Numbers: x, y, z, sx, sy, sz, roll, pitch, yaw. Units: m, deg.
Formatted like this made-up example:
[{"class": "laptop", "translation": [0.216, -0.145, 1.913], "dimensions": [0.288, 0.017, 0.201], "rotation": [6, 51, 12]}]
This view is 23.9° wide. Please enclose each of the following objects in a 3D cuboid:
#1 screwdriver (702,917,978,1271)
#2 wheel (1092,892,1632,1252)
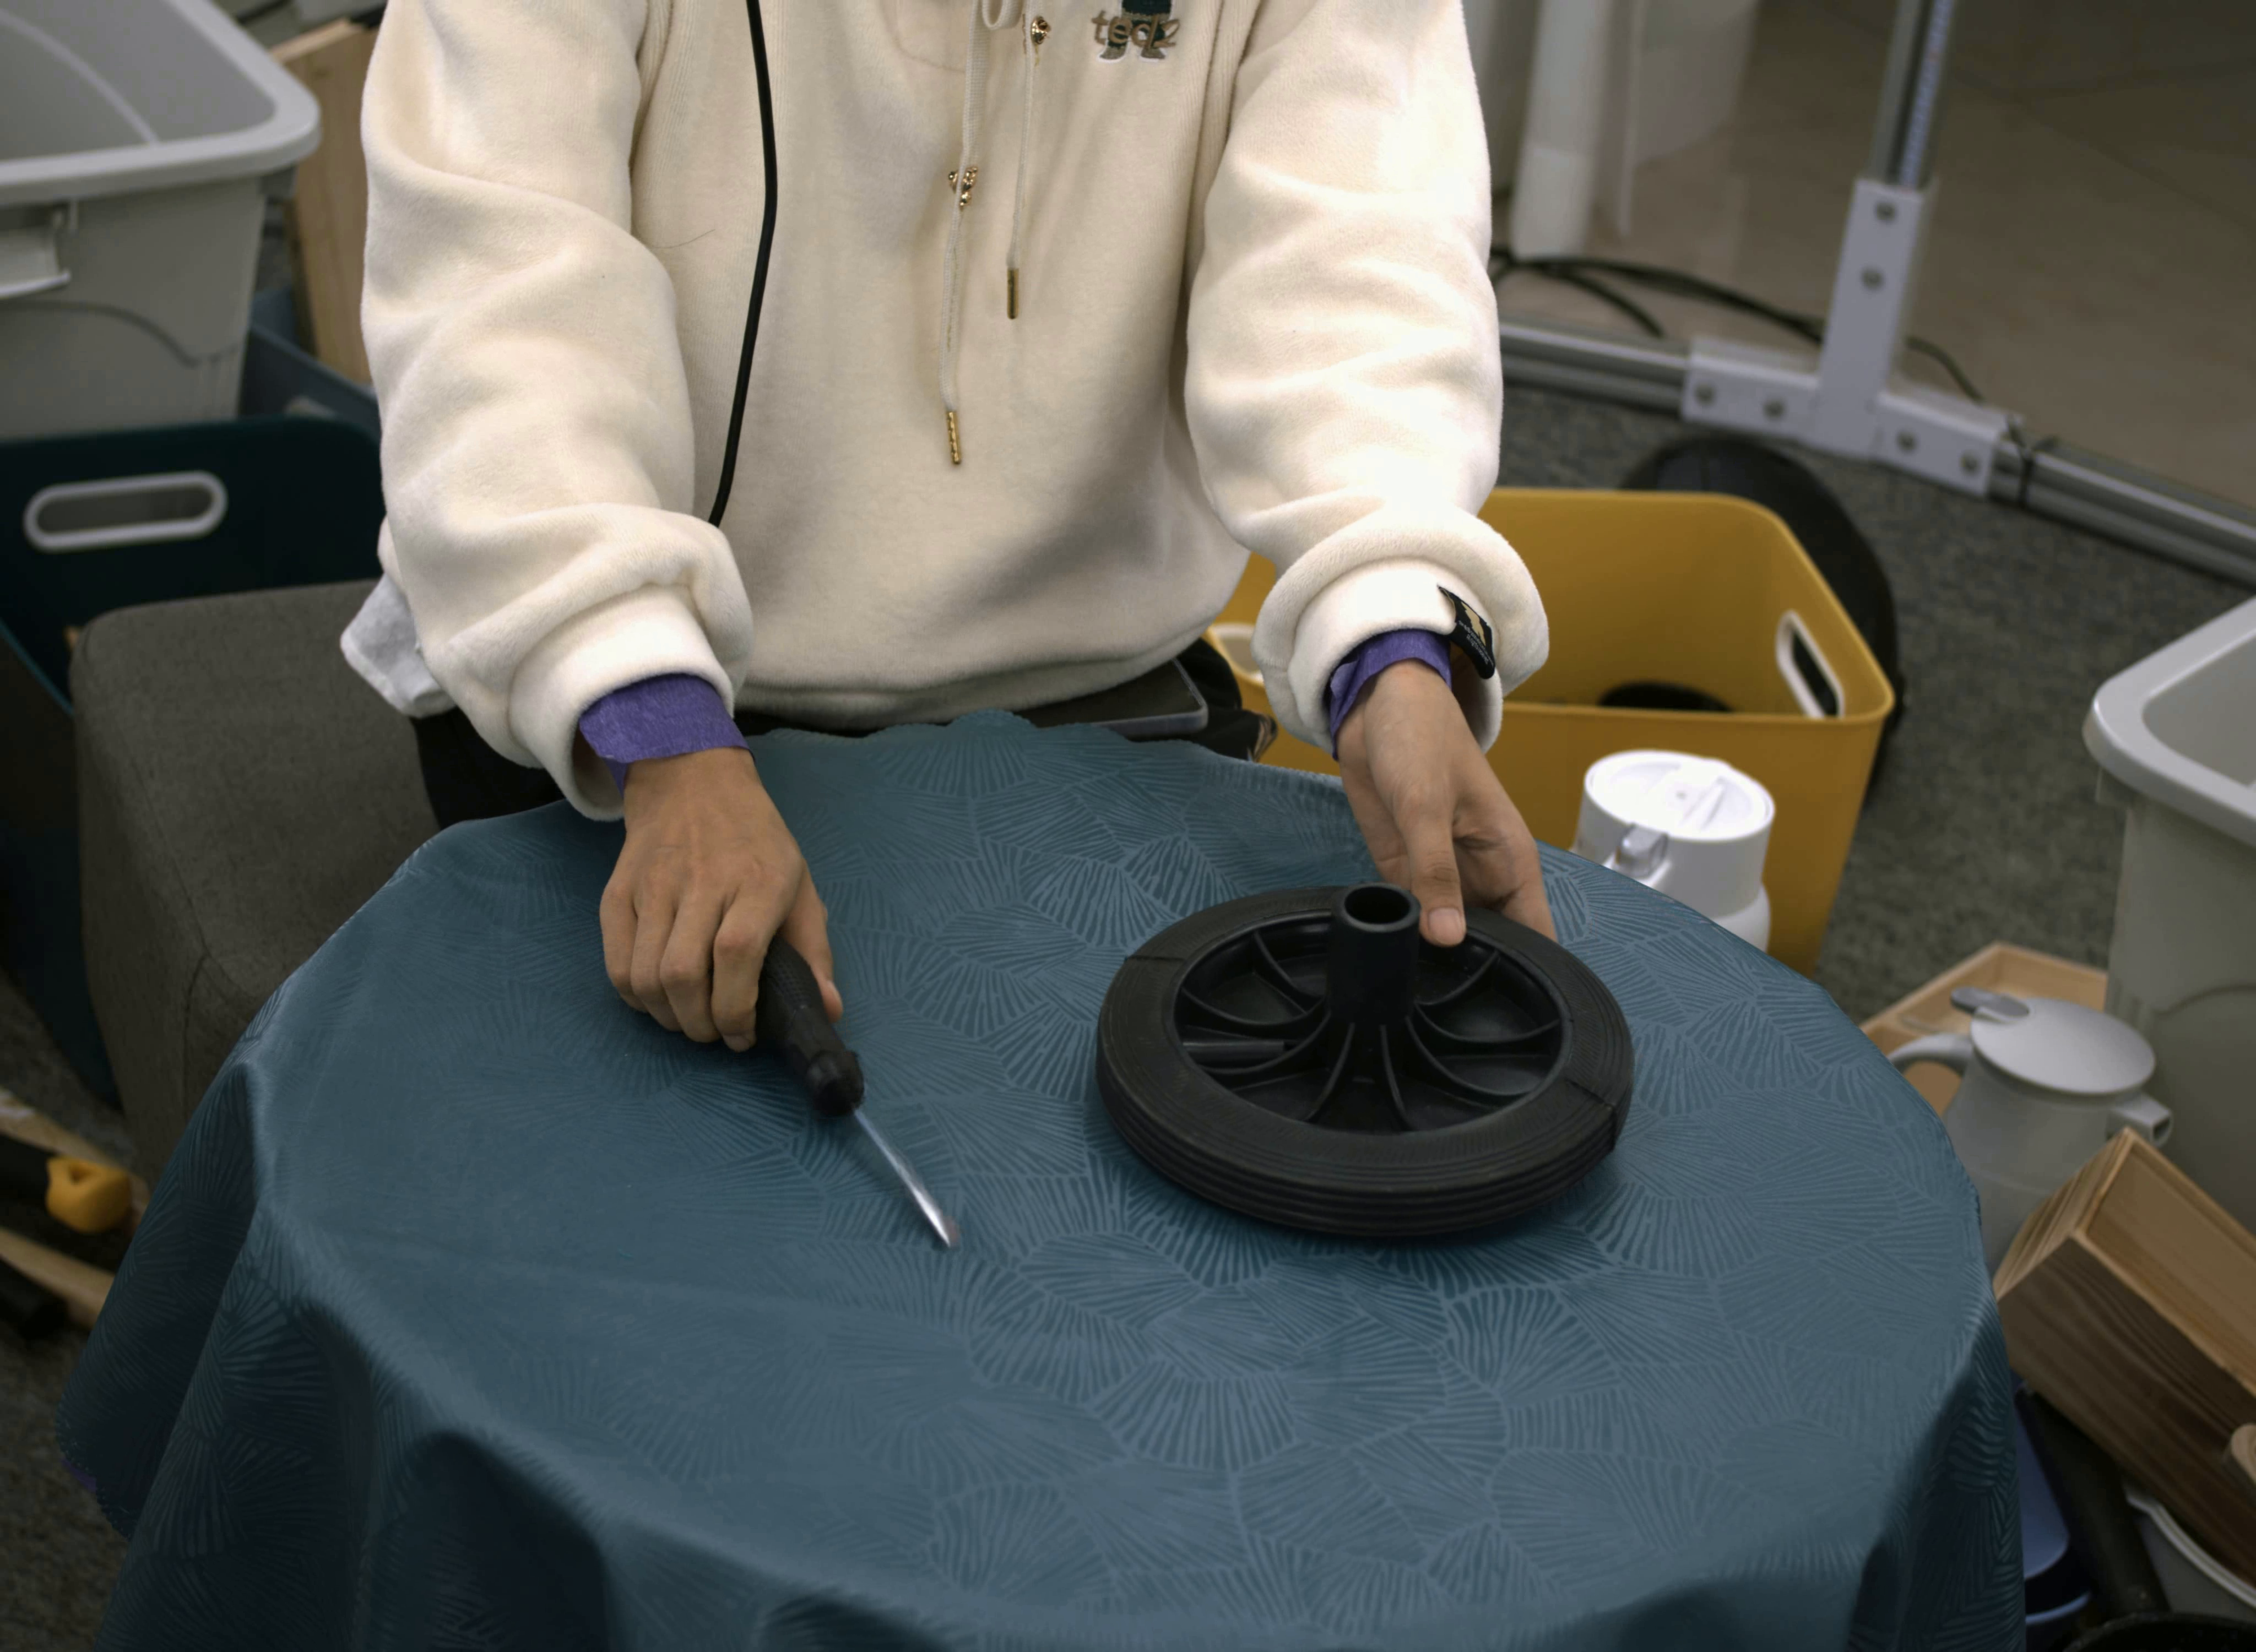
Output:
[{"class": "screwdriver", "translation": [-0.100, 0.092, 1.811], "dimensions": [0.031, 0.031, 0.200], "rotation": [-7, 35, -26]}, {"class": "wheel", "translation": [0.082, 0.066, 1.843], "dimensions": [0.189, 0.079, 0.189], "rotation": [-16, 37, -23]}]
